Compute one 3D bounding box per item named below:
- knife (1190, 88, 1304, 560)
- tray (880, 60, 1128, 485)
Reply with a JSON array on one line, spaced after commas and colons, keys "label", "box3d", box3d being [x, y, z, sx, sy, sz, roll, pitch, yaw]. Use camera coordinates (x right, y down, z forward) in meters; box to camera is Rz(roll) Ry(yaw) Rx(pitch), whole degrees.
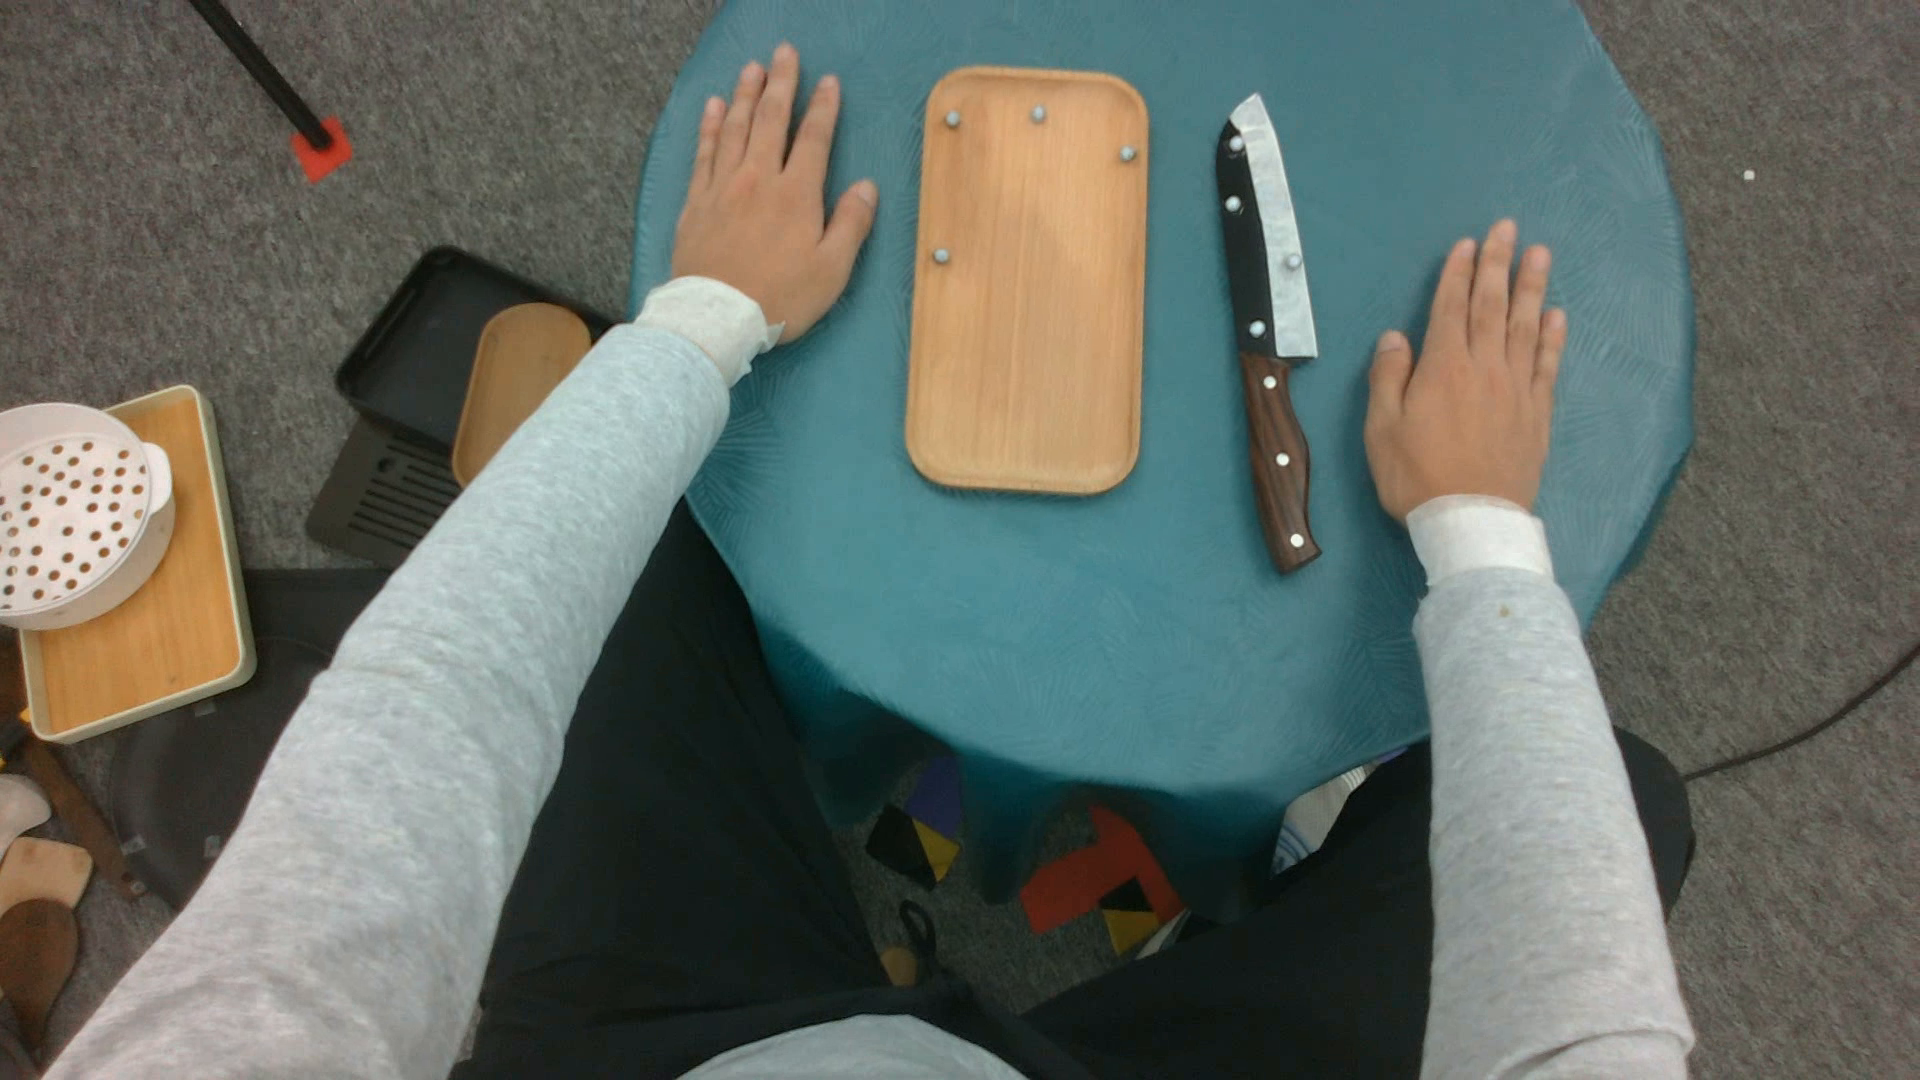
[{"label": "knife", "box3d": [0.161, -0.128, 0.766, 0.050, 0.020, 0.290, 0, 72, -7]}, {"label": "tray", "box3d": [0.027, -0.152, 0.766, 0.130, 0.023, 0.251, 4, 75, 1]}]
